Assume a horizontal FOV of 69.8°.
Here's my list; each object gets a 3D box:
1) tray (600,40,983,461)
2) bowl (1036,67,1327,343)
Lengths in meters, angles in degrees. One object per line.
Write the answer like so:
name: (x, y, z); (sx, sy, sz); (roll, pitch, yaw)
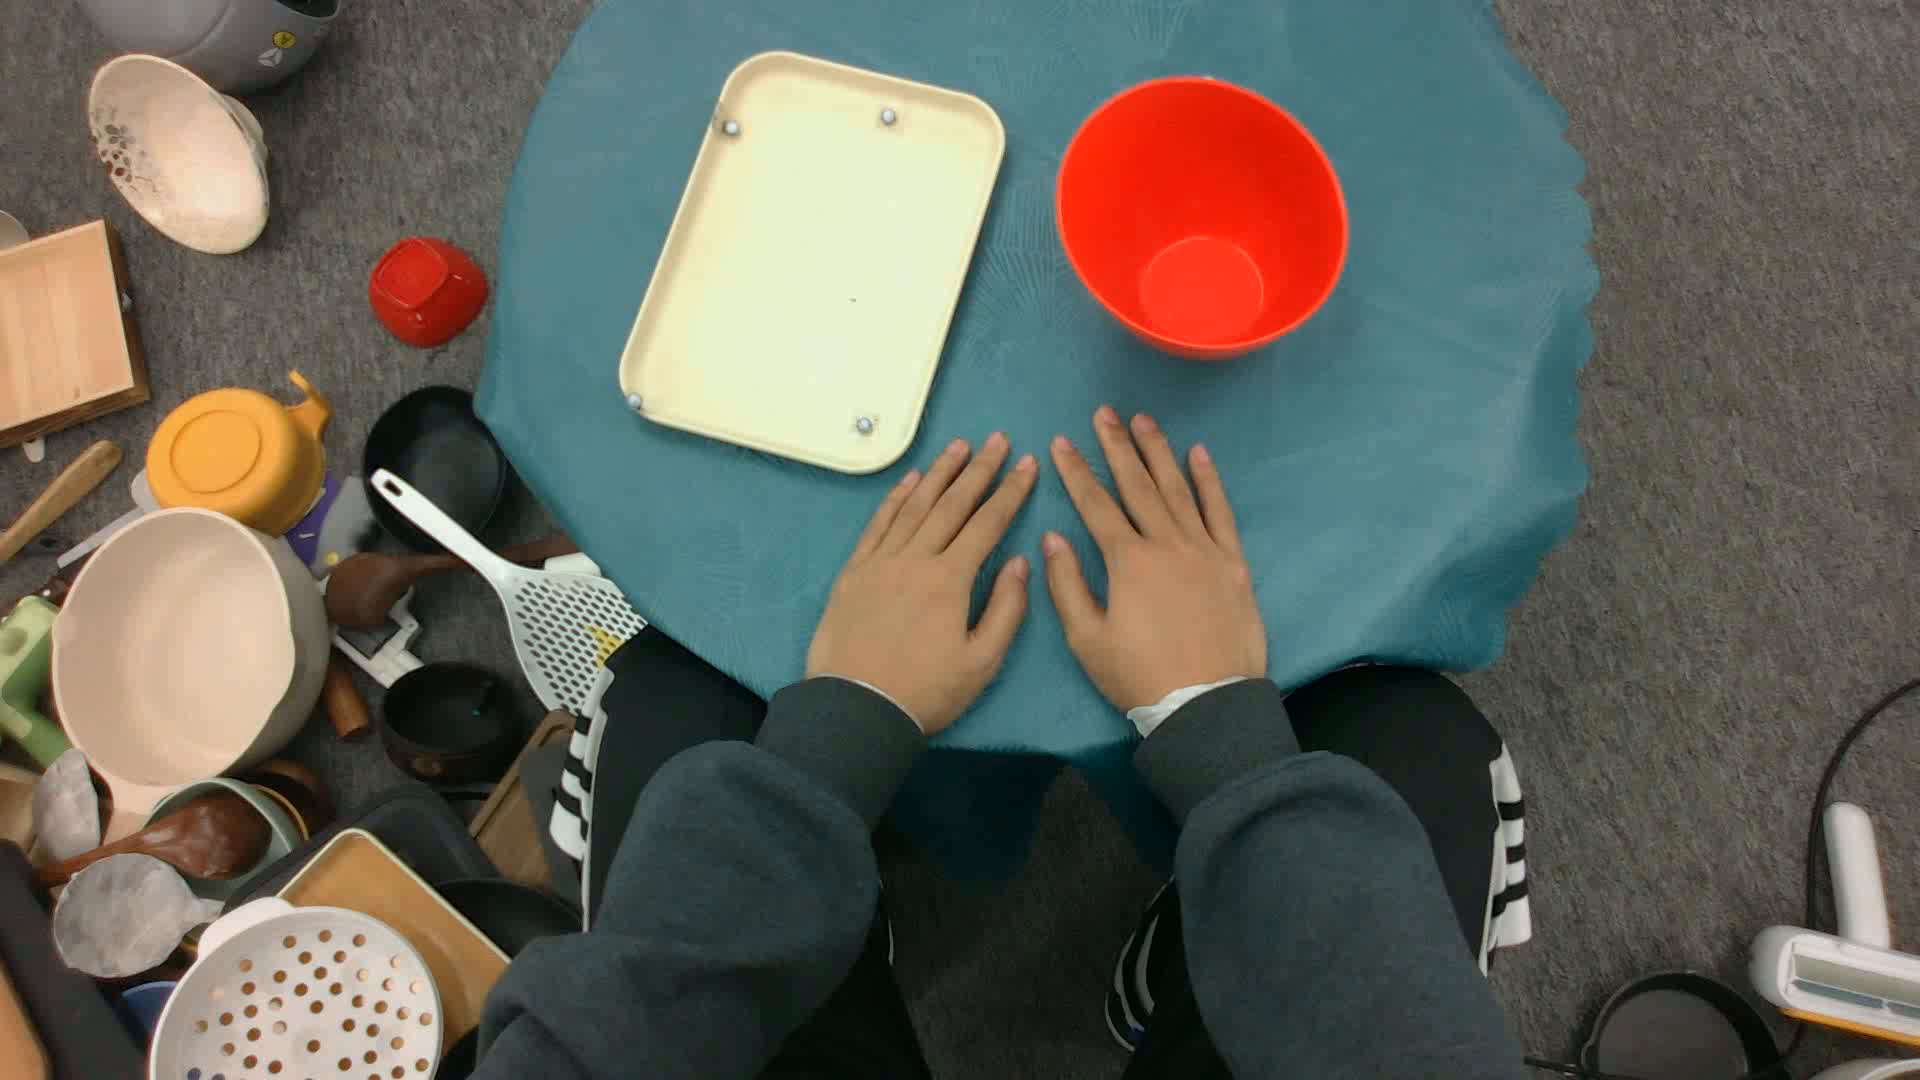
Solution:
tray: (-0.092, -0.166, 0.778); (0.171, 0.017, 0.240); (15, 75, 5)
bowl: (0.114, -0.161, 0.728); (0.148, 0.104, 0.148); (-1, 72, 2)
